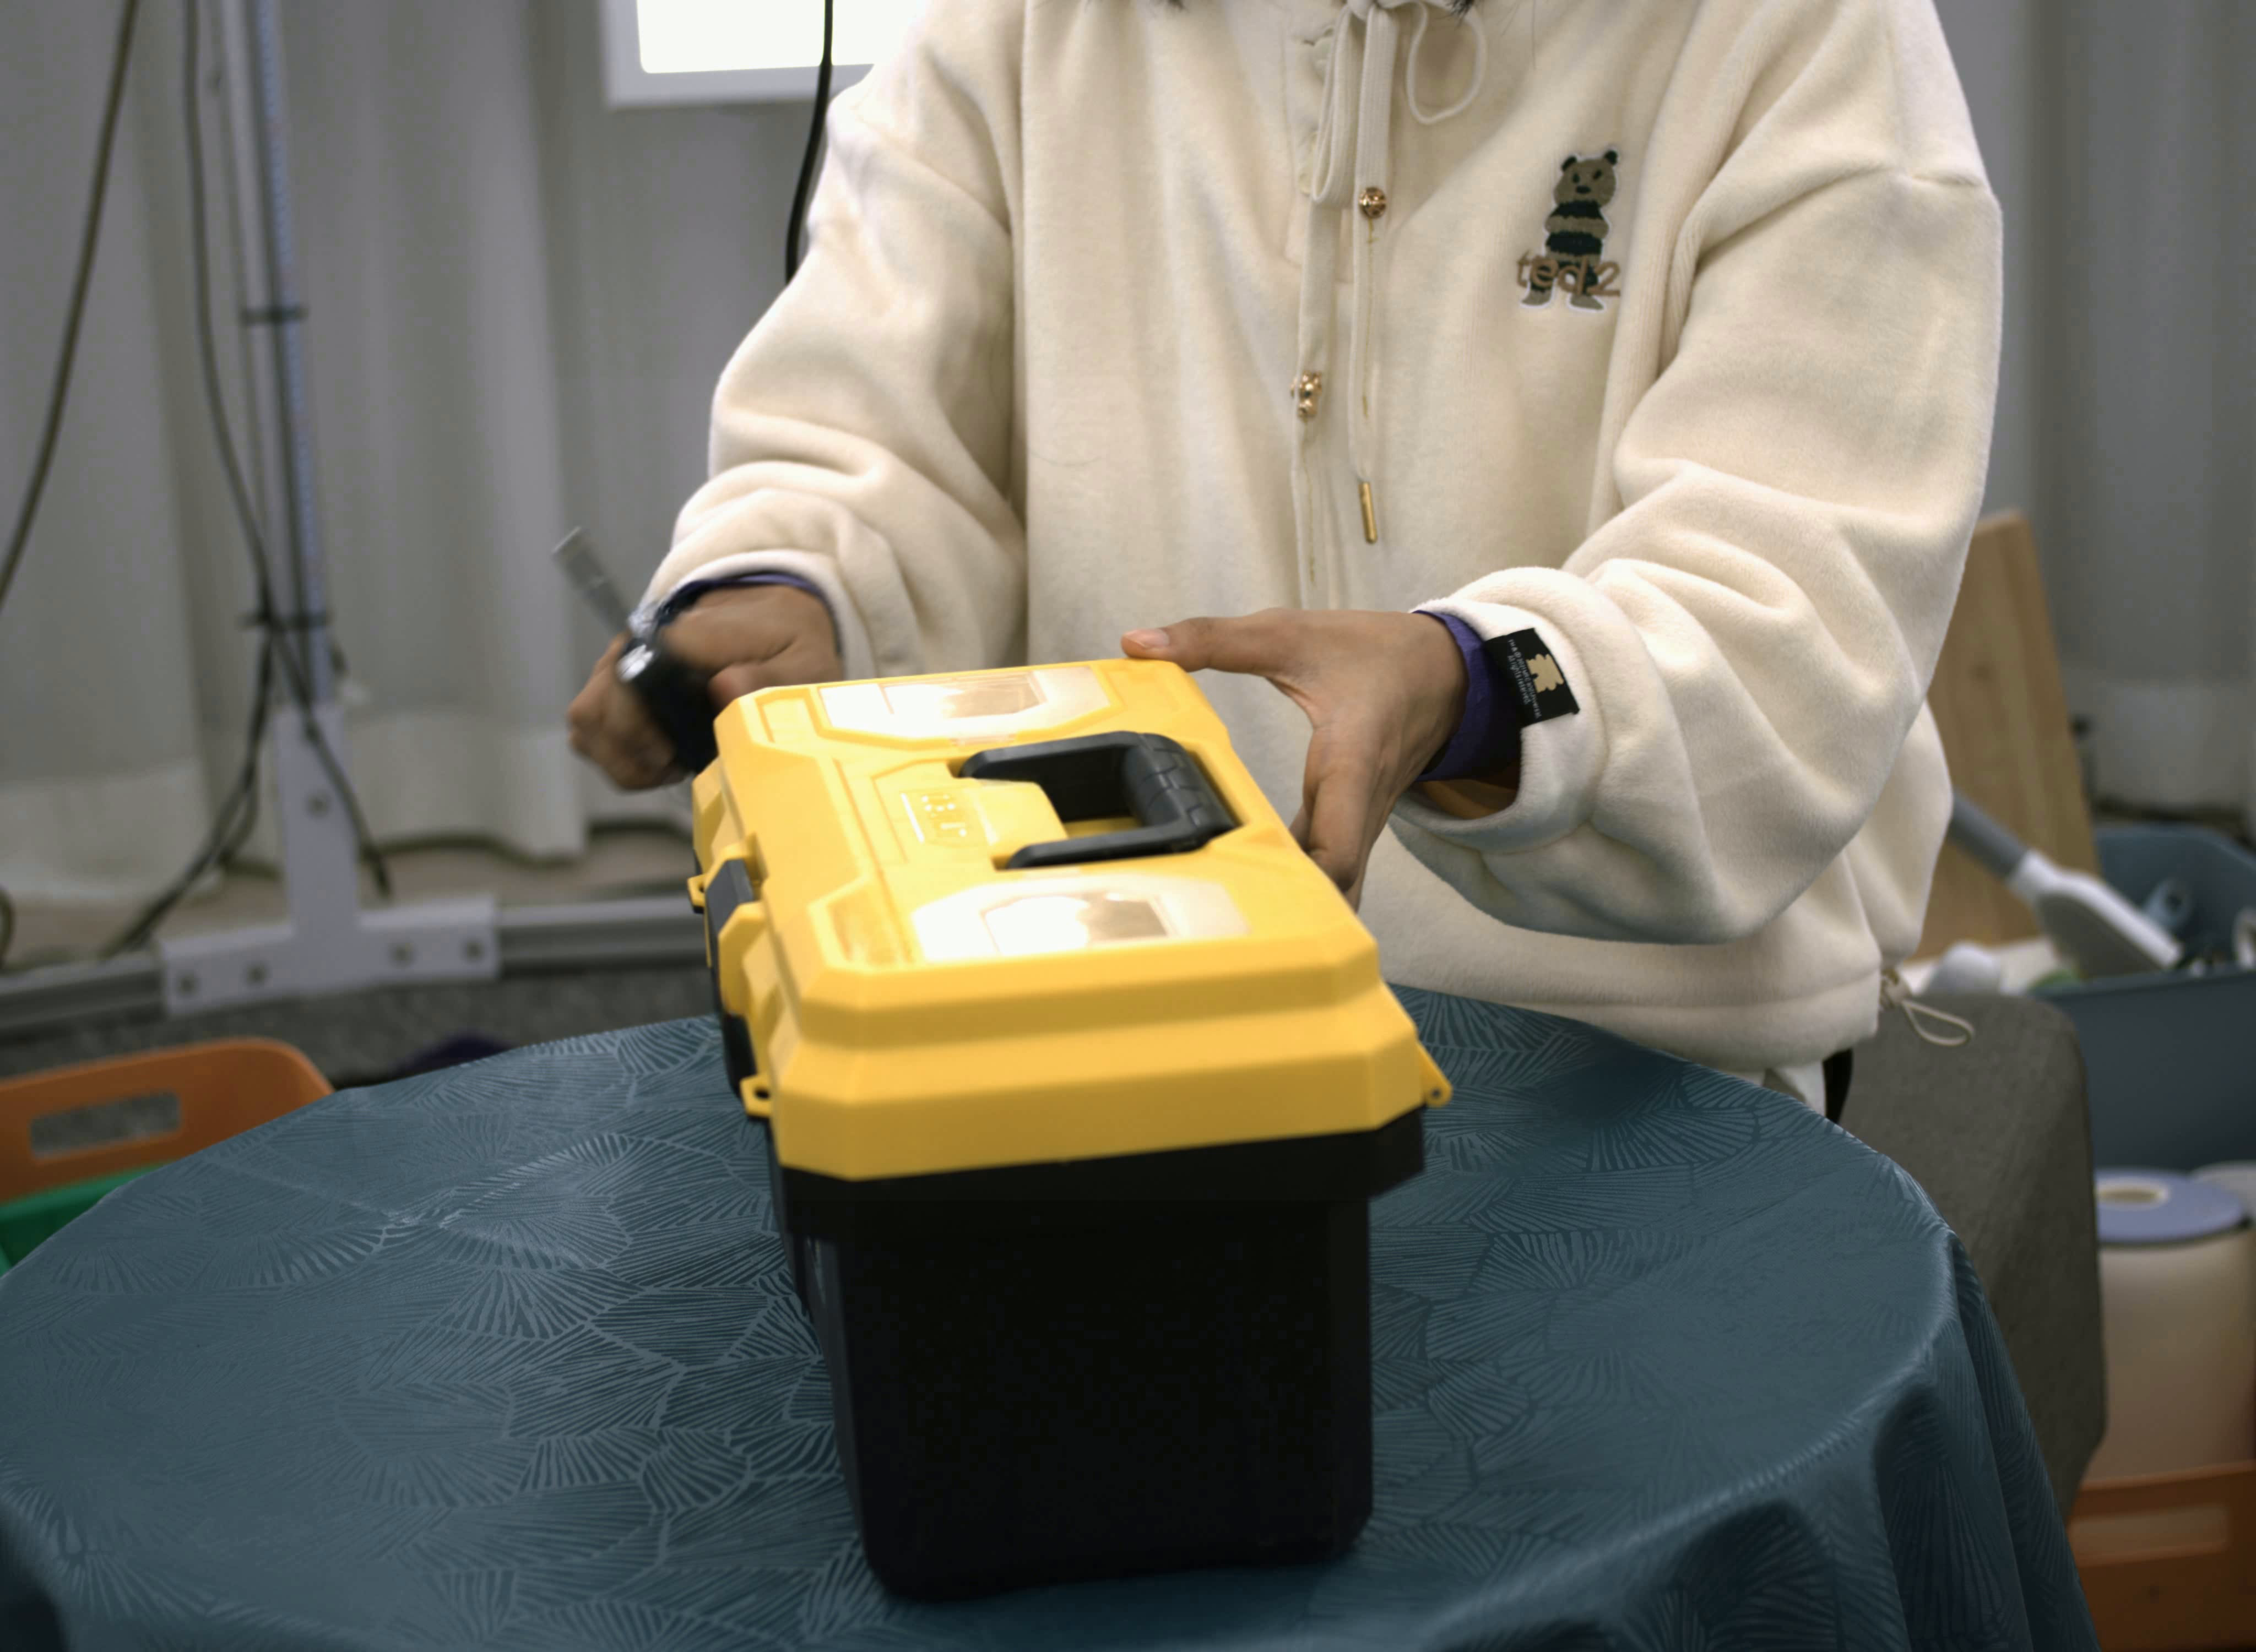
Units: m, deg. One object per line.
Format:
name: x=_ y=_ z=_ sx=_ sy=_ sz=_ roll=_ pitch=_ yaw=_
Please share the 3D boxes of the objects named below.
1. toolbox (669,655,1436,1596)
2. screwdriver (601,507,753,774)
toolbox: x=-0.027 y=0.074 z=1.536 sx=0.180 sy=0.172 sz=0.354 roll=-4 pitch=15 yaw=-7
screwdriver: x=-0.150 y=-0.063 z=1.761 sx=0.031 sy=0.032 sz=0.194 roll=0 pitch=-23 yaw=10
